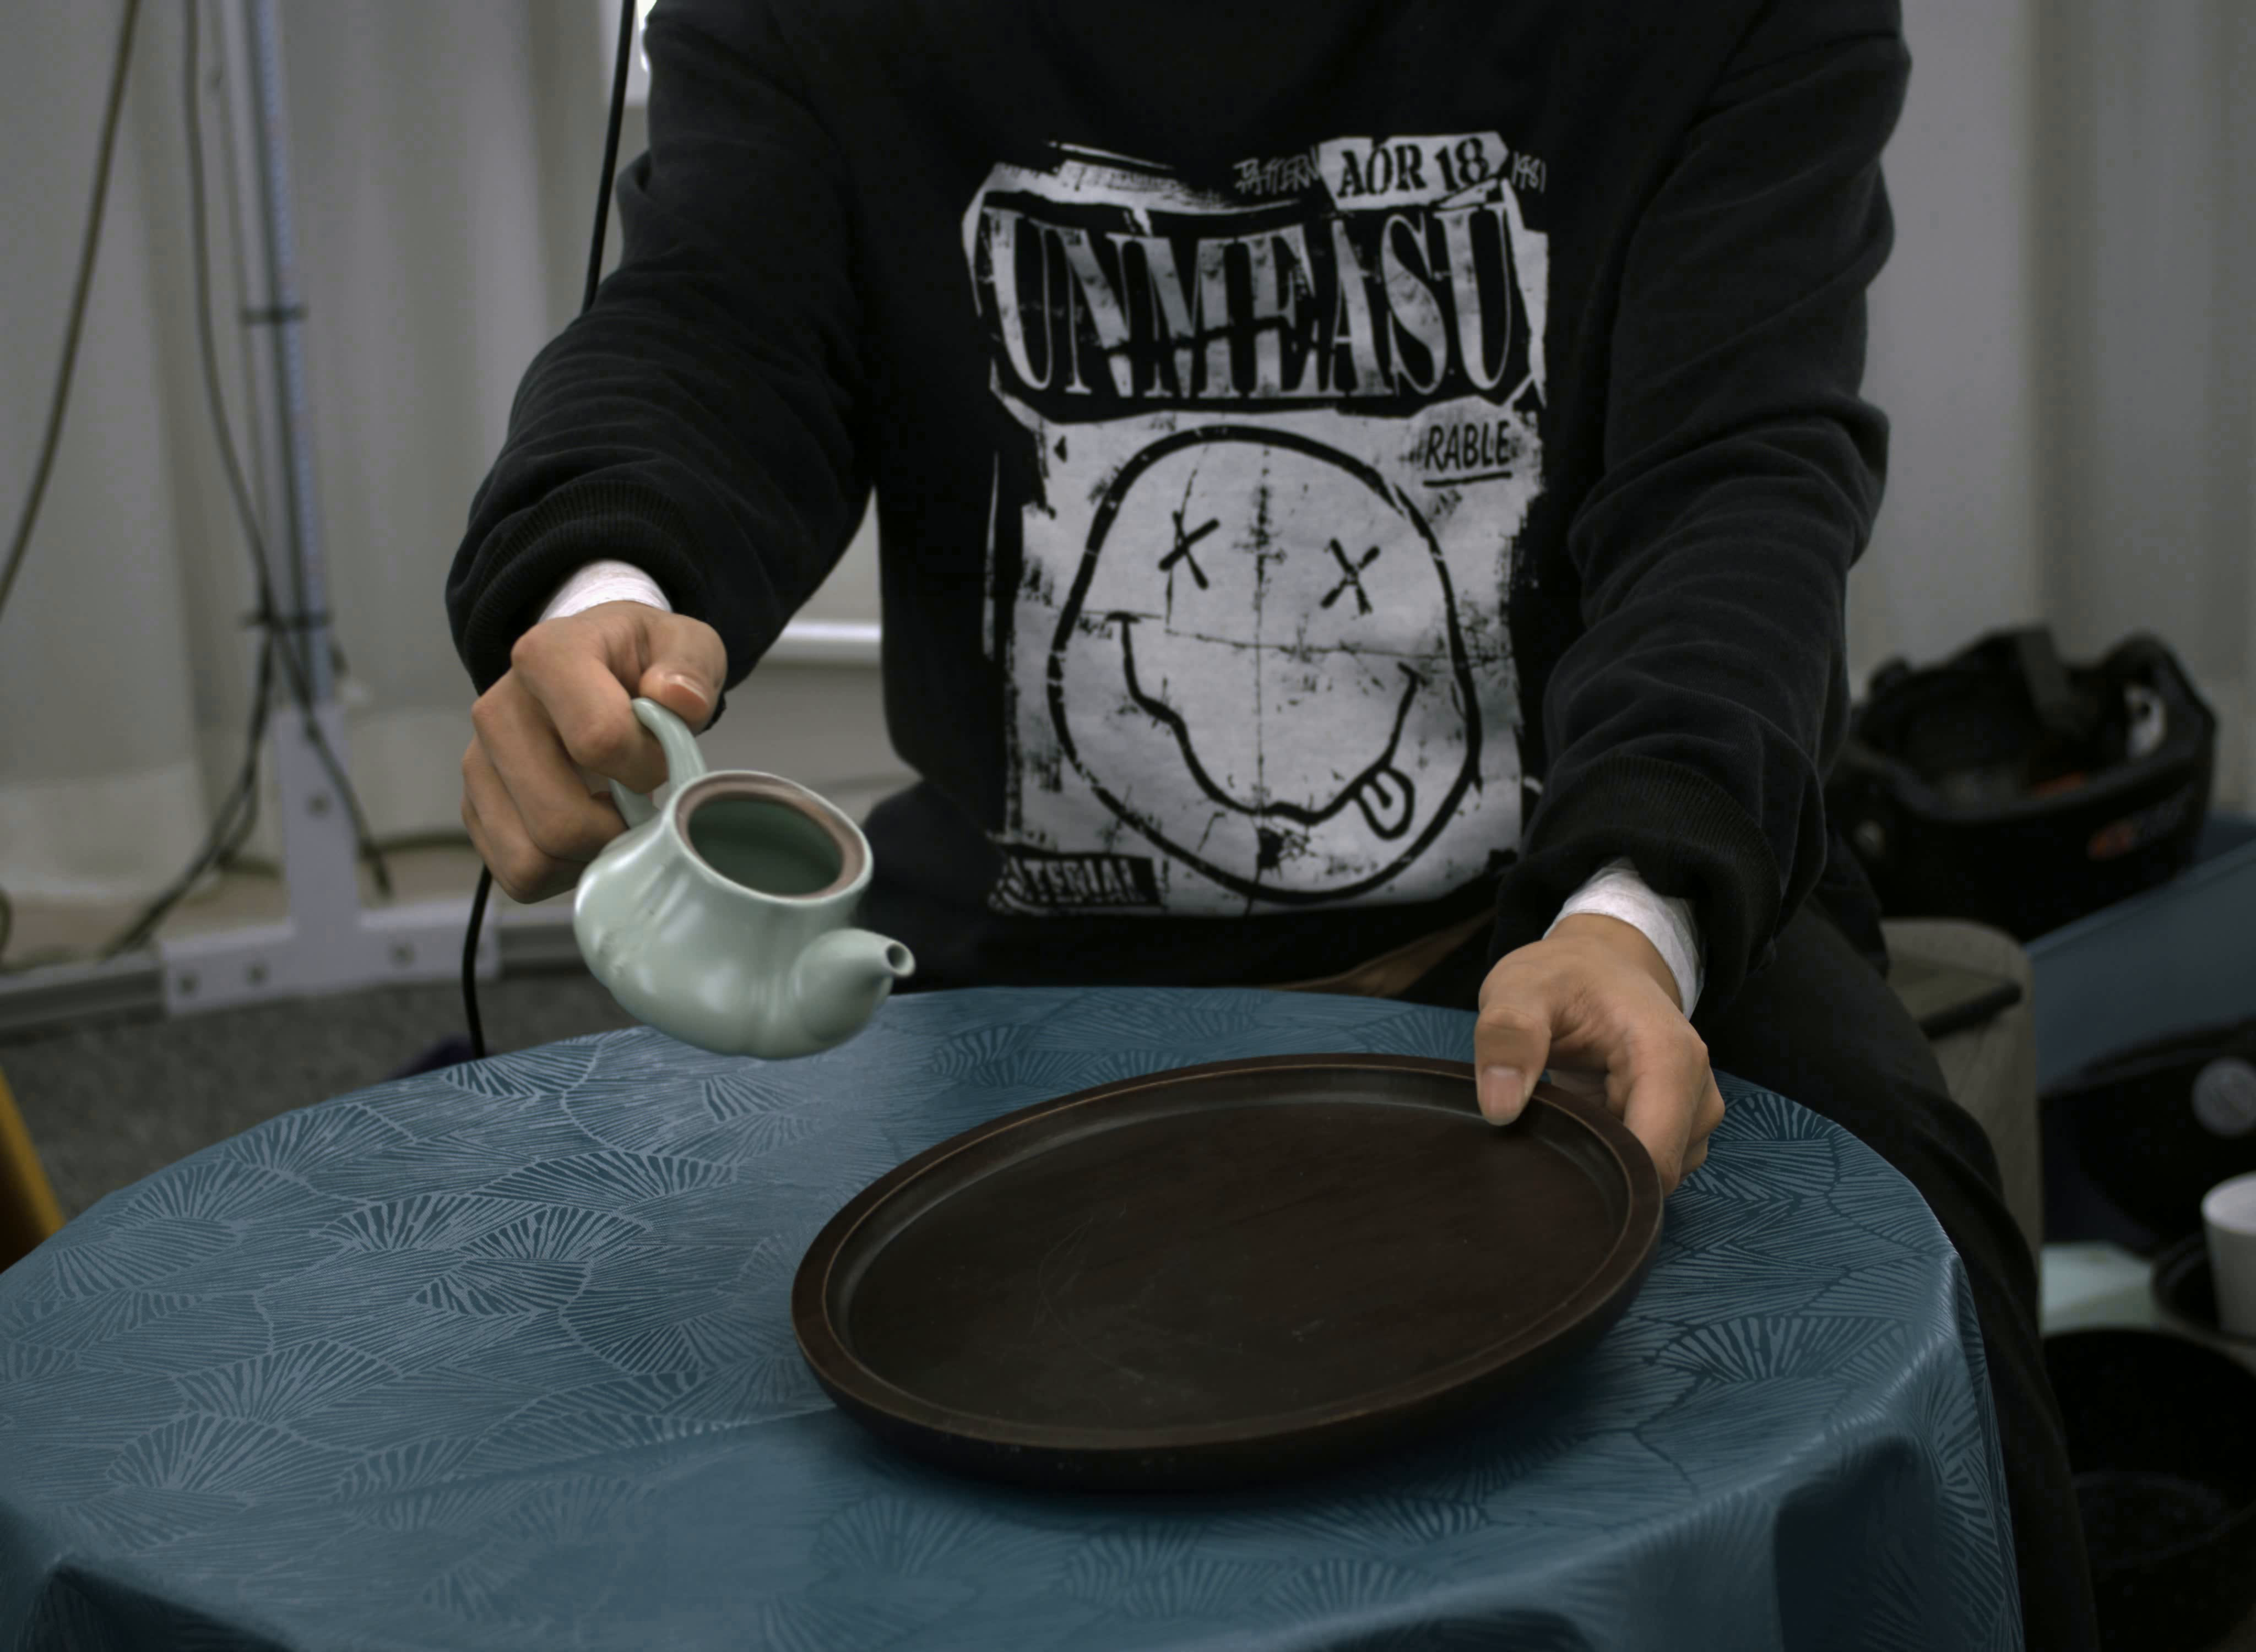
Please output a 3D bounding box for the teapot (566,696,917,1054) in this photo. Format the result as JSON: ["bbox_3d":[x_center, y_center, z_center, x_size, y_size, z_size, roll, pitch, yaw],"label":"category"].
[{"bbox_3d":[-0.116,0.019,1.599,0.096,0.061,0.138,-18,50,-43],"label":"teapot"}]

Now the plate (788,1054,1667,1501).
[{"bbox_3d":[0.029,0.126,1.560,0.254,0.029,0.257,-9,21,3],"label":"plate"}]
